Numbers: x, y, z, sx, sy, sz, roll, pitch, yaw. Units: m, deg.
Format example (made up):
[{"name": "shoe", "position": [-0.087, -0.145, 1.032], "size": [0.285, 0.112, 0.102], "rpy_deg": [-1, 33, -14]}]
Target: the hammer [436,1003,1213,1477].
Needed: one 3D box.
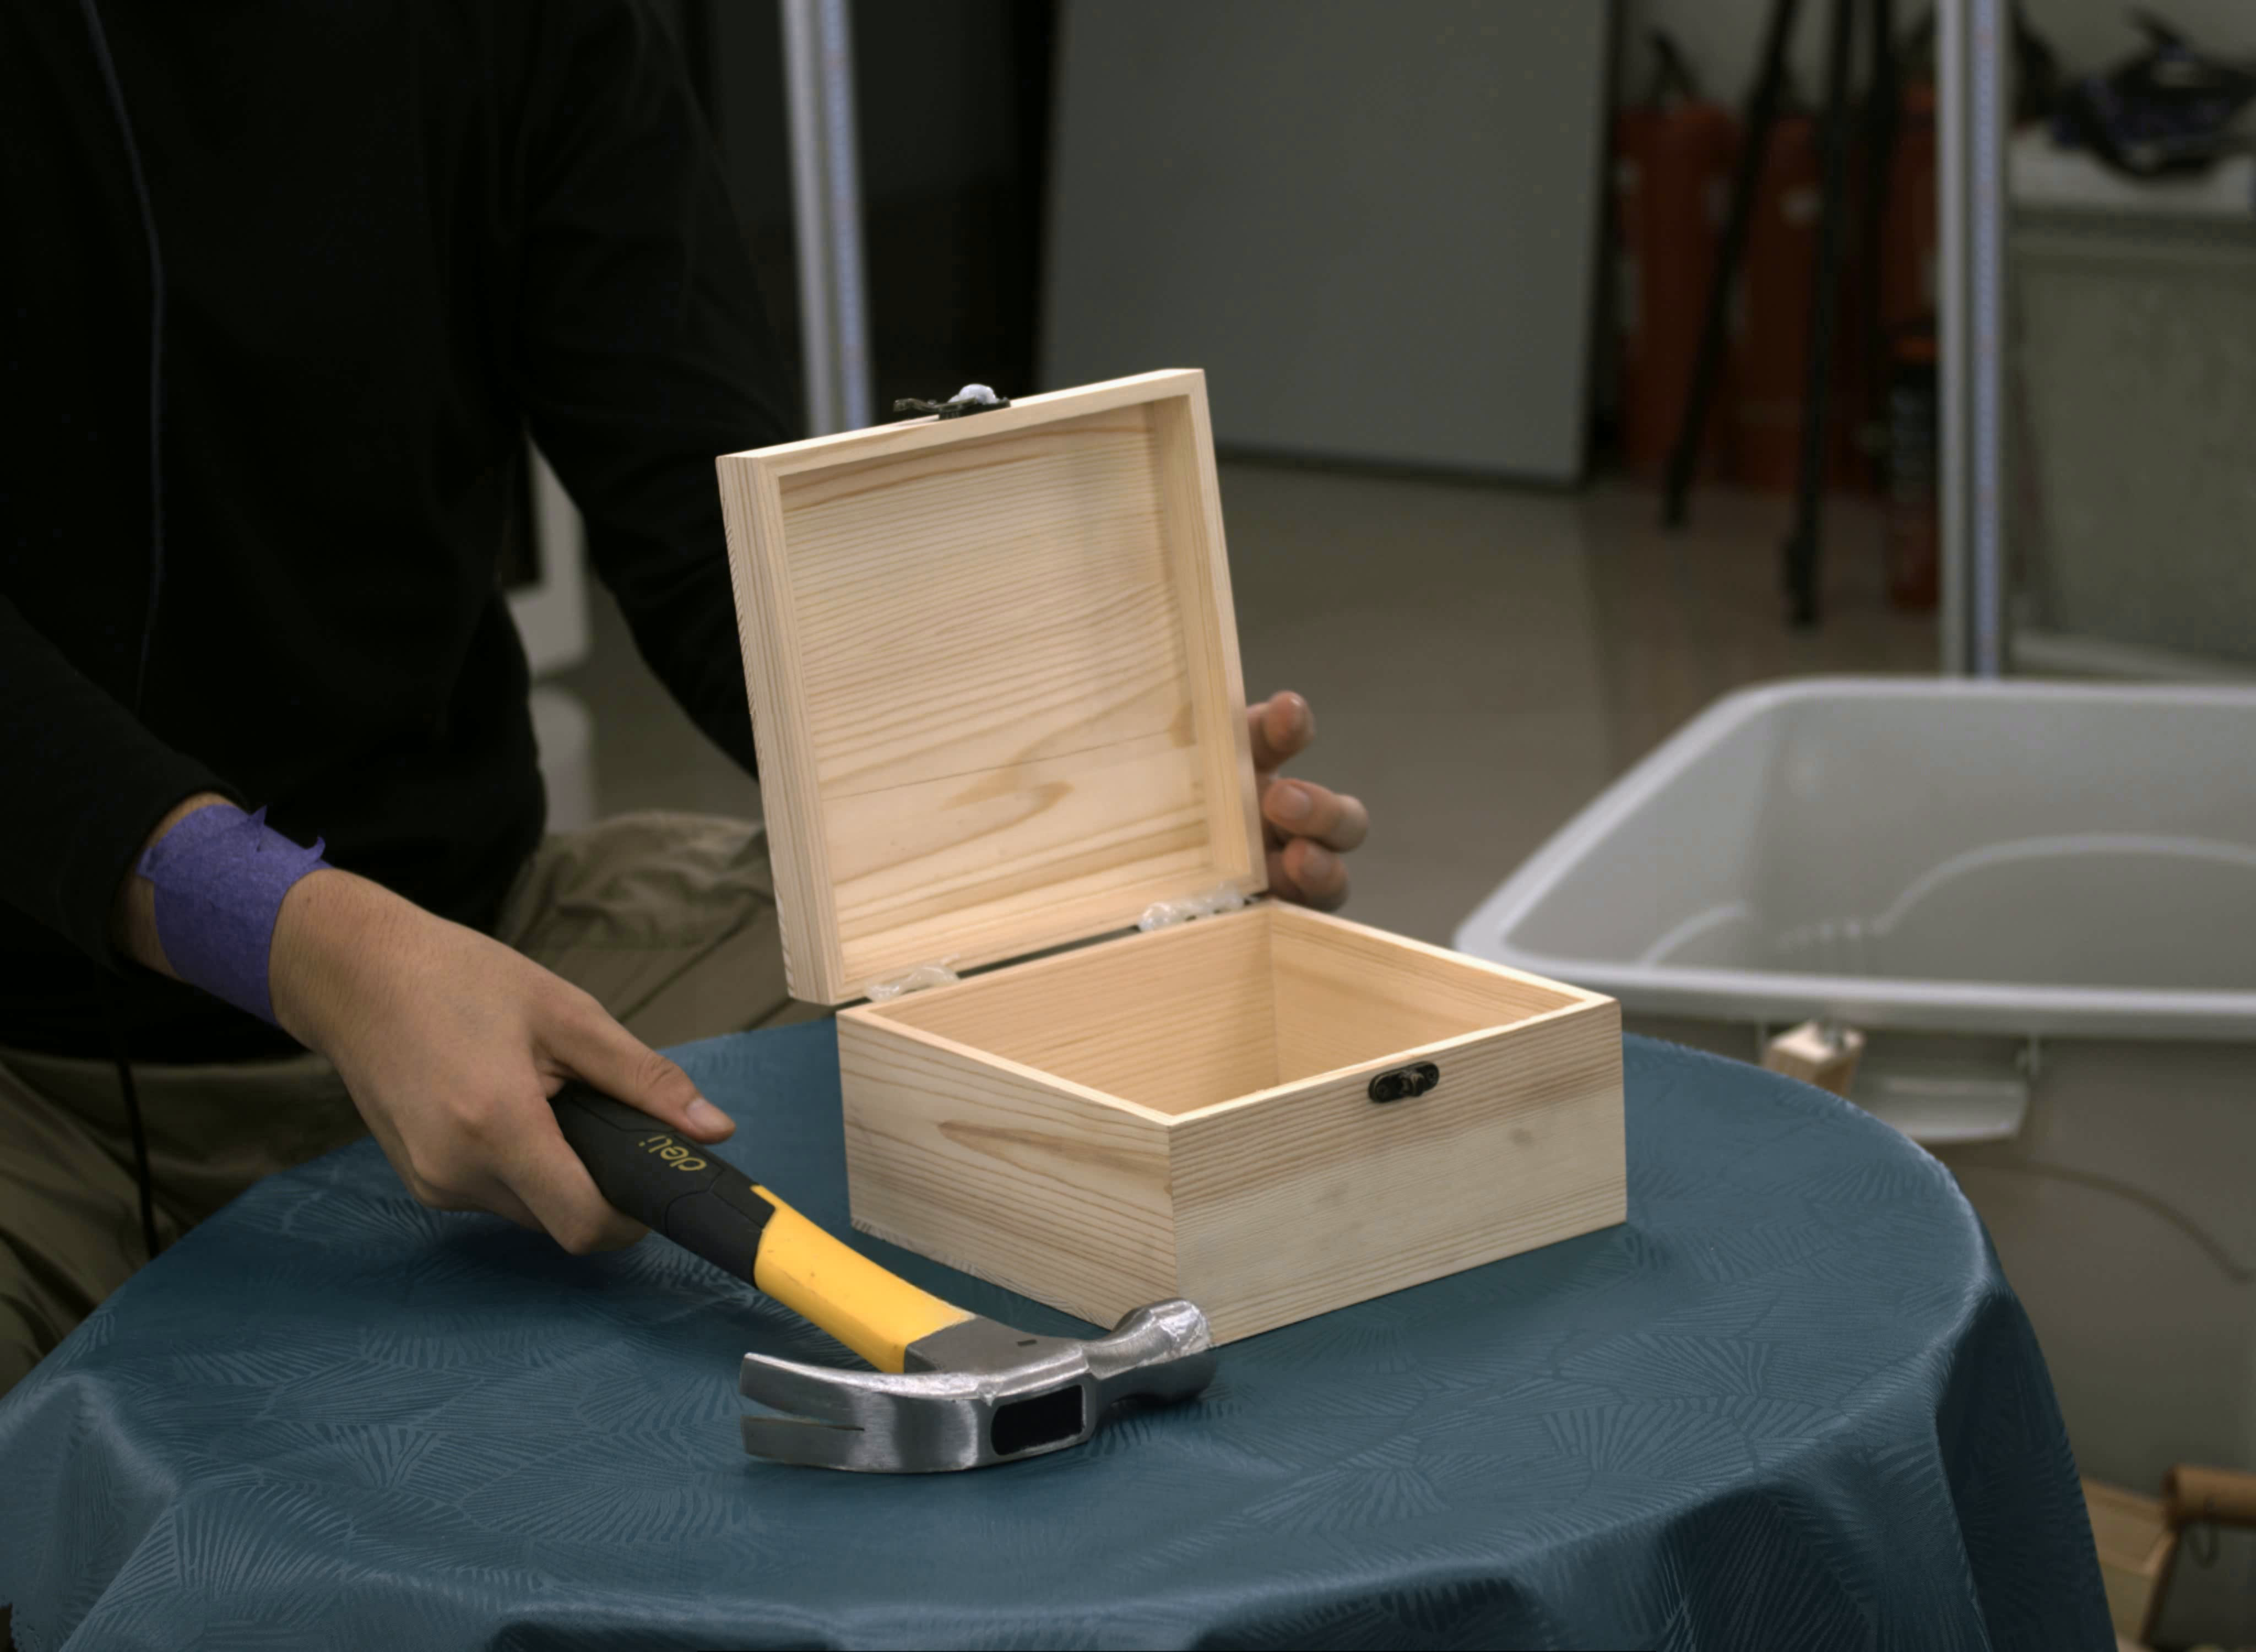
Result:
[{"name": "hammer", "position": [-0.121, 0.120, 1.668], "size": [0.128, 0.032, 0.342], "rpy_deg": [-14, 25, -31]}]

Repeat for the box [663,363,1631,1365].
[{"name": "box", "position": [0.007, 0.002, 1.730], "size": [0.178, 0.256, 0.268], "rpy_deg": [-15, 18, -34]}]
